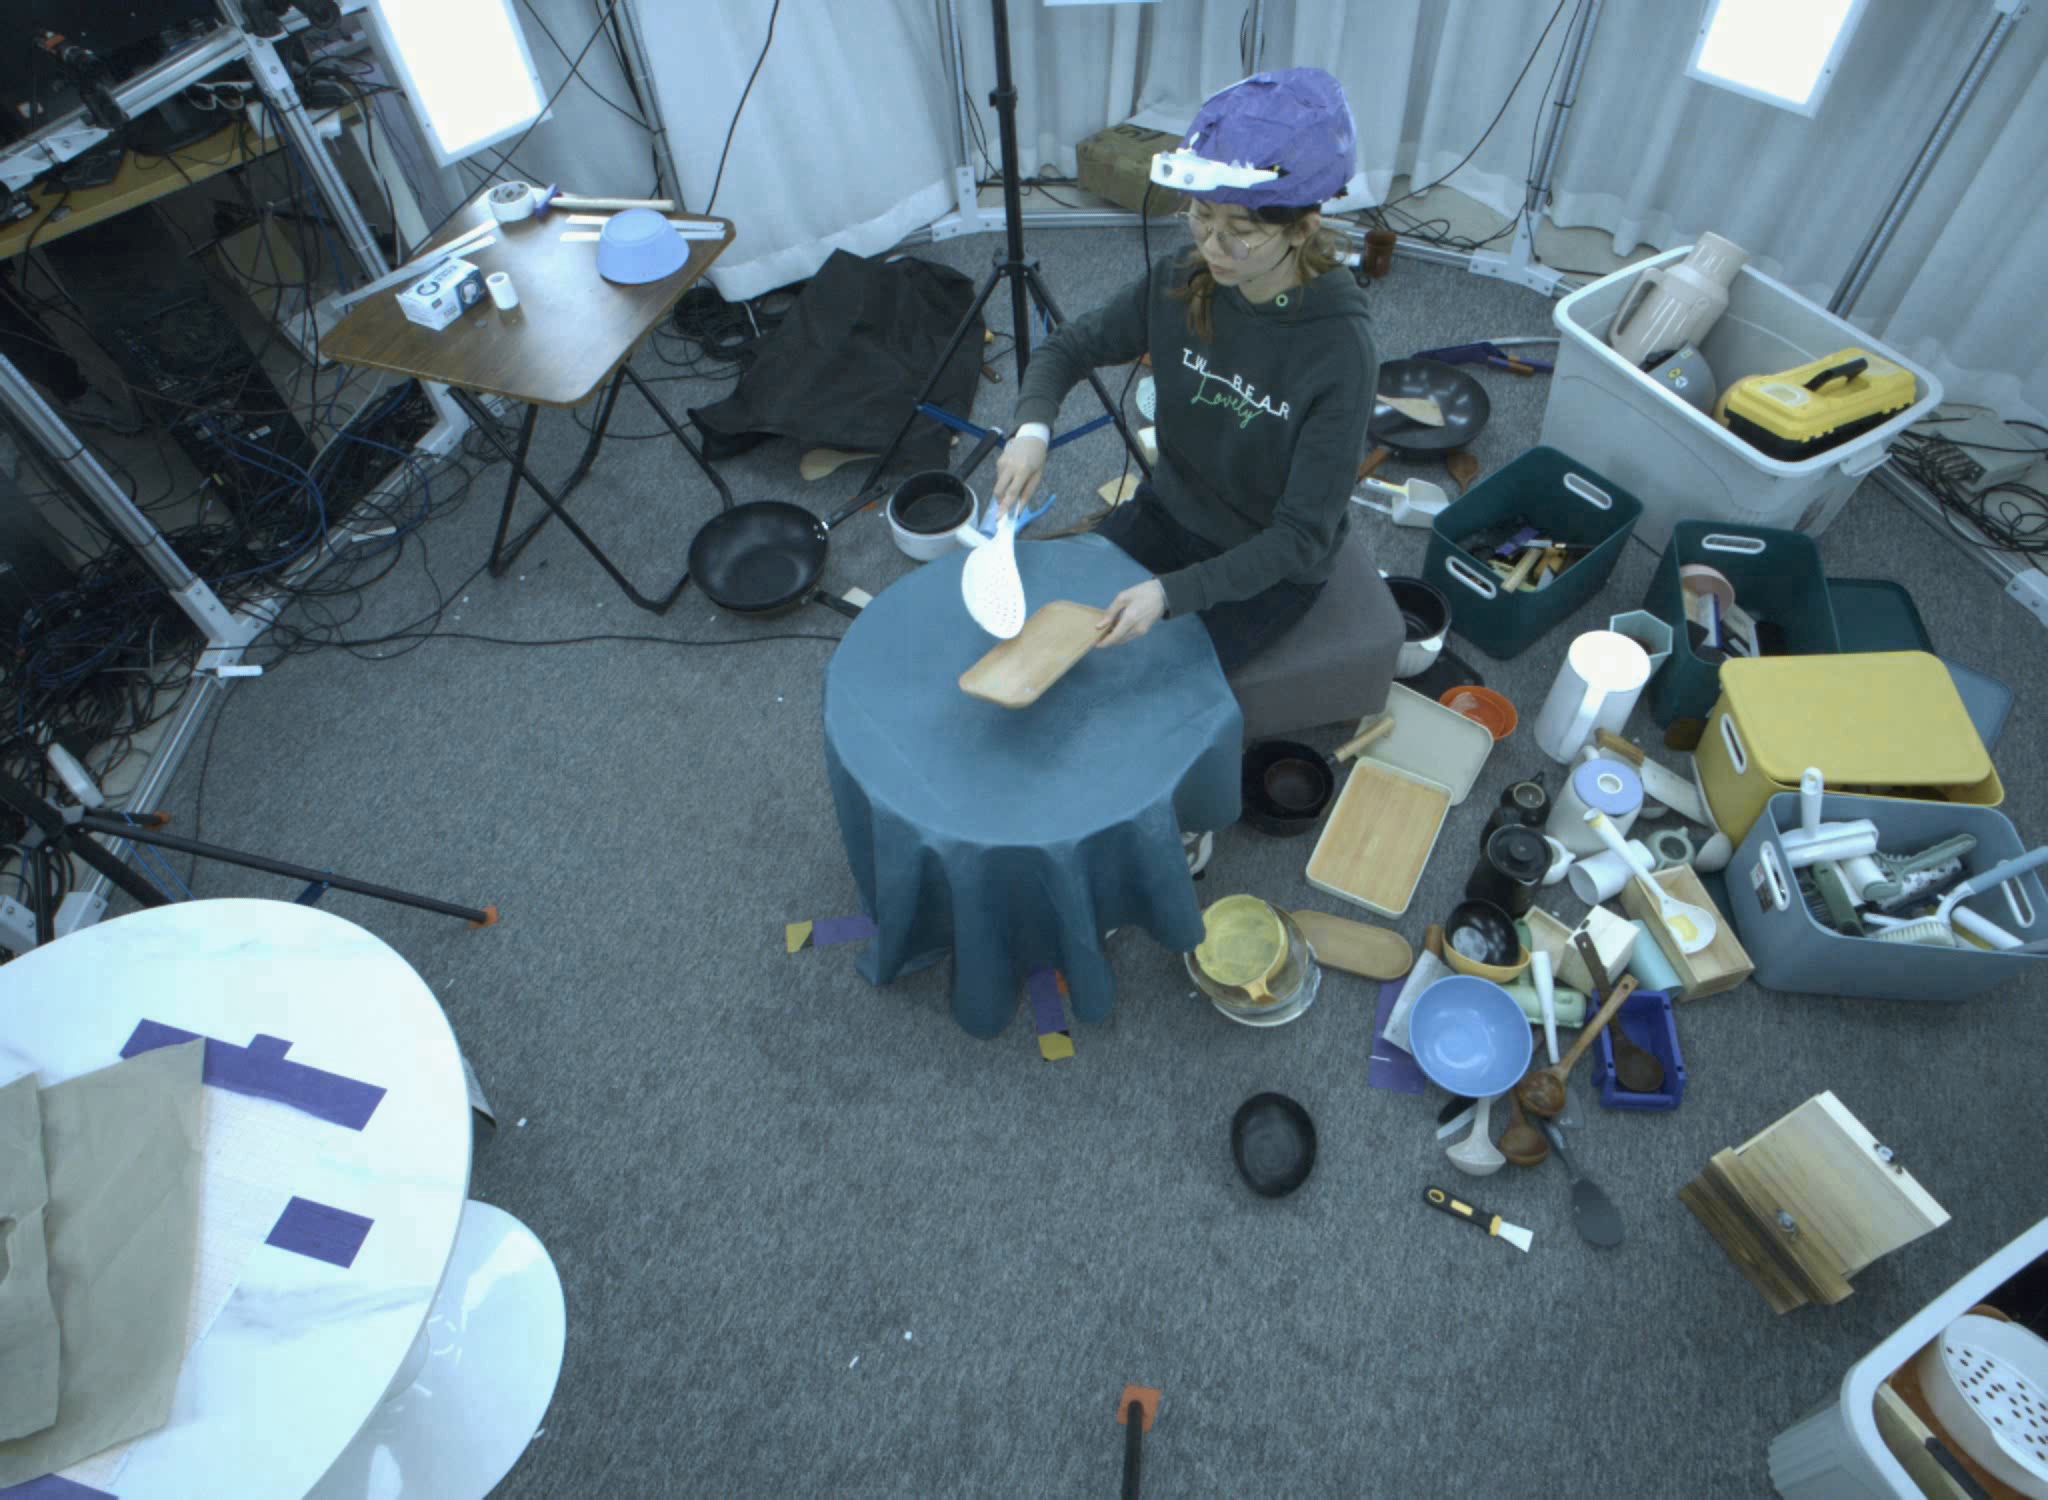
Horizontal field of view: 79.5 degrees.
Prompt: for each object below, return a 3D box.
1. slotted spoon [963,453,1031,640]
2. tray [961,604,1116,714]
[{"bbox_3d":[-0.029,-0.315,1.833,0.045,0.139,0.348,-9,55,37],"label":"slotted spoon"},{"bbox_3d":[0.024,-0.135,1.787,0.128,0.023,0.252,22,48,31],"label":"tray"}]
